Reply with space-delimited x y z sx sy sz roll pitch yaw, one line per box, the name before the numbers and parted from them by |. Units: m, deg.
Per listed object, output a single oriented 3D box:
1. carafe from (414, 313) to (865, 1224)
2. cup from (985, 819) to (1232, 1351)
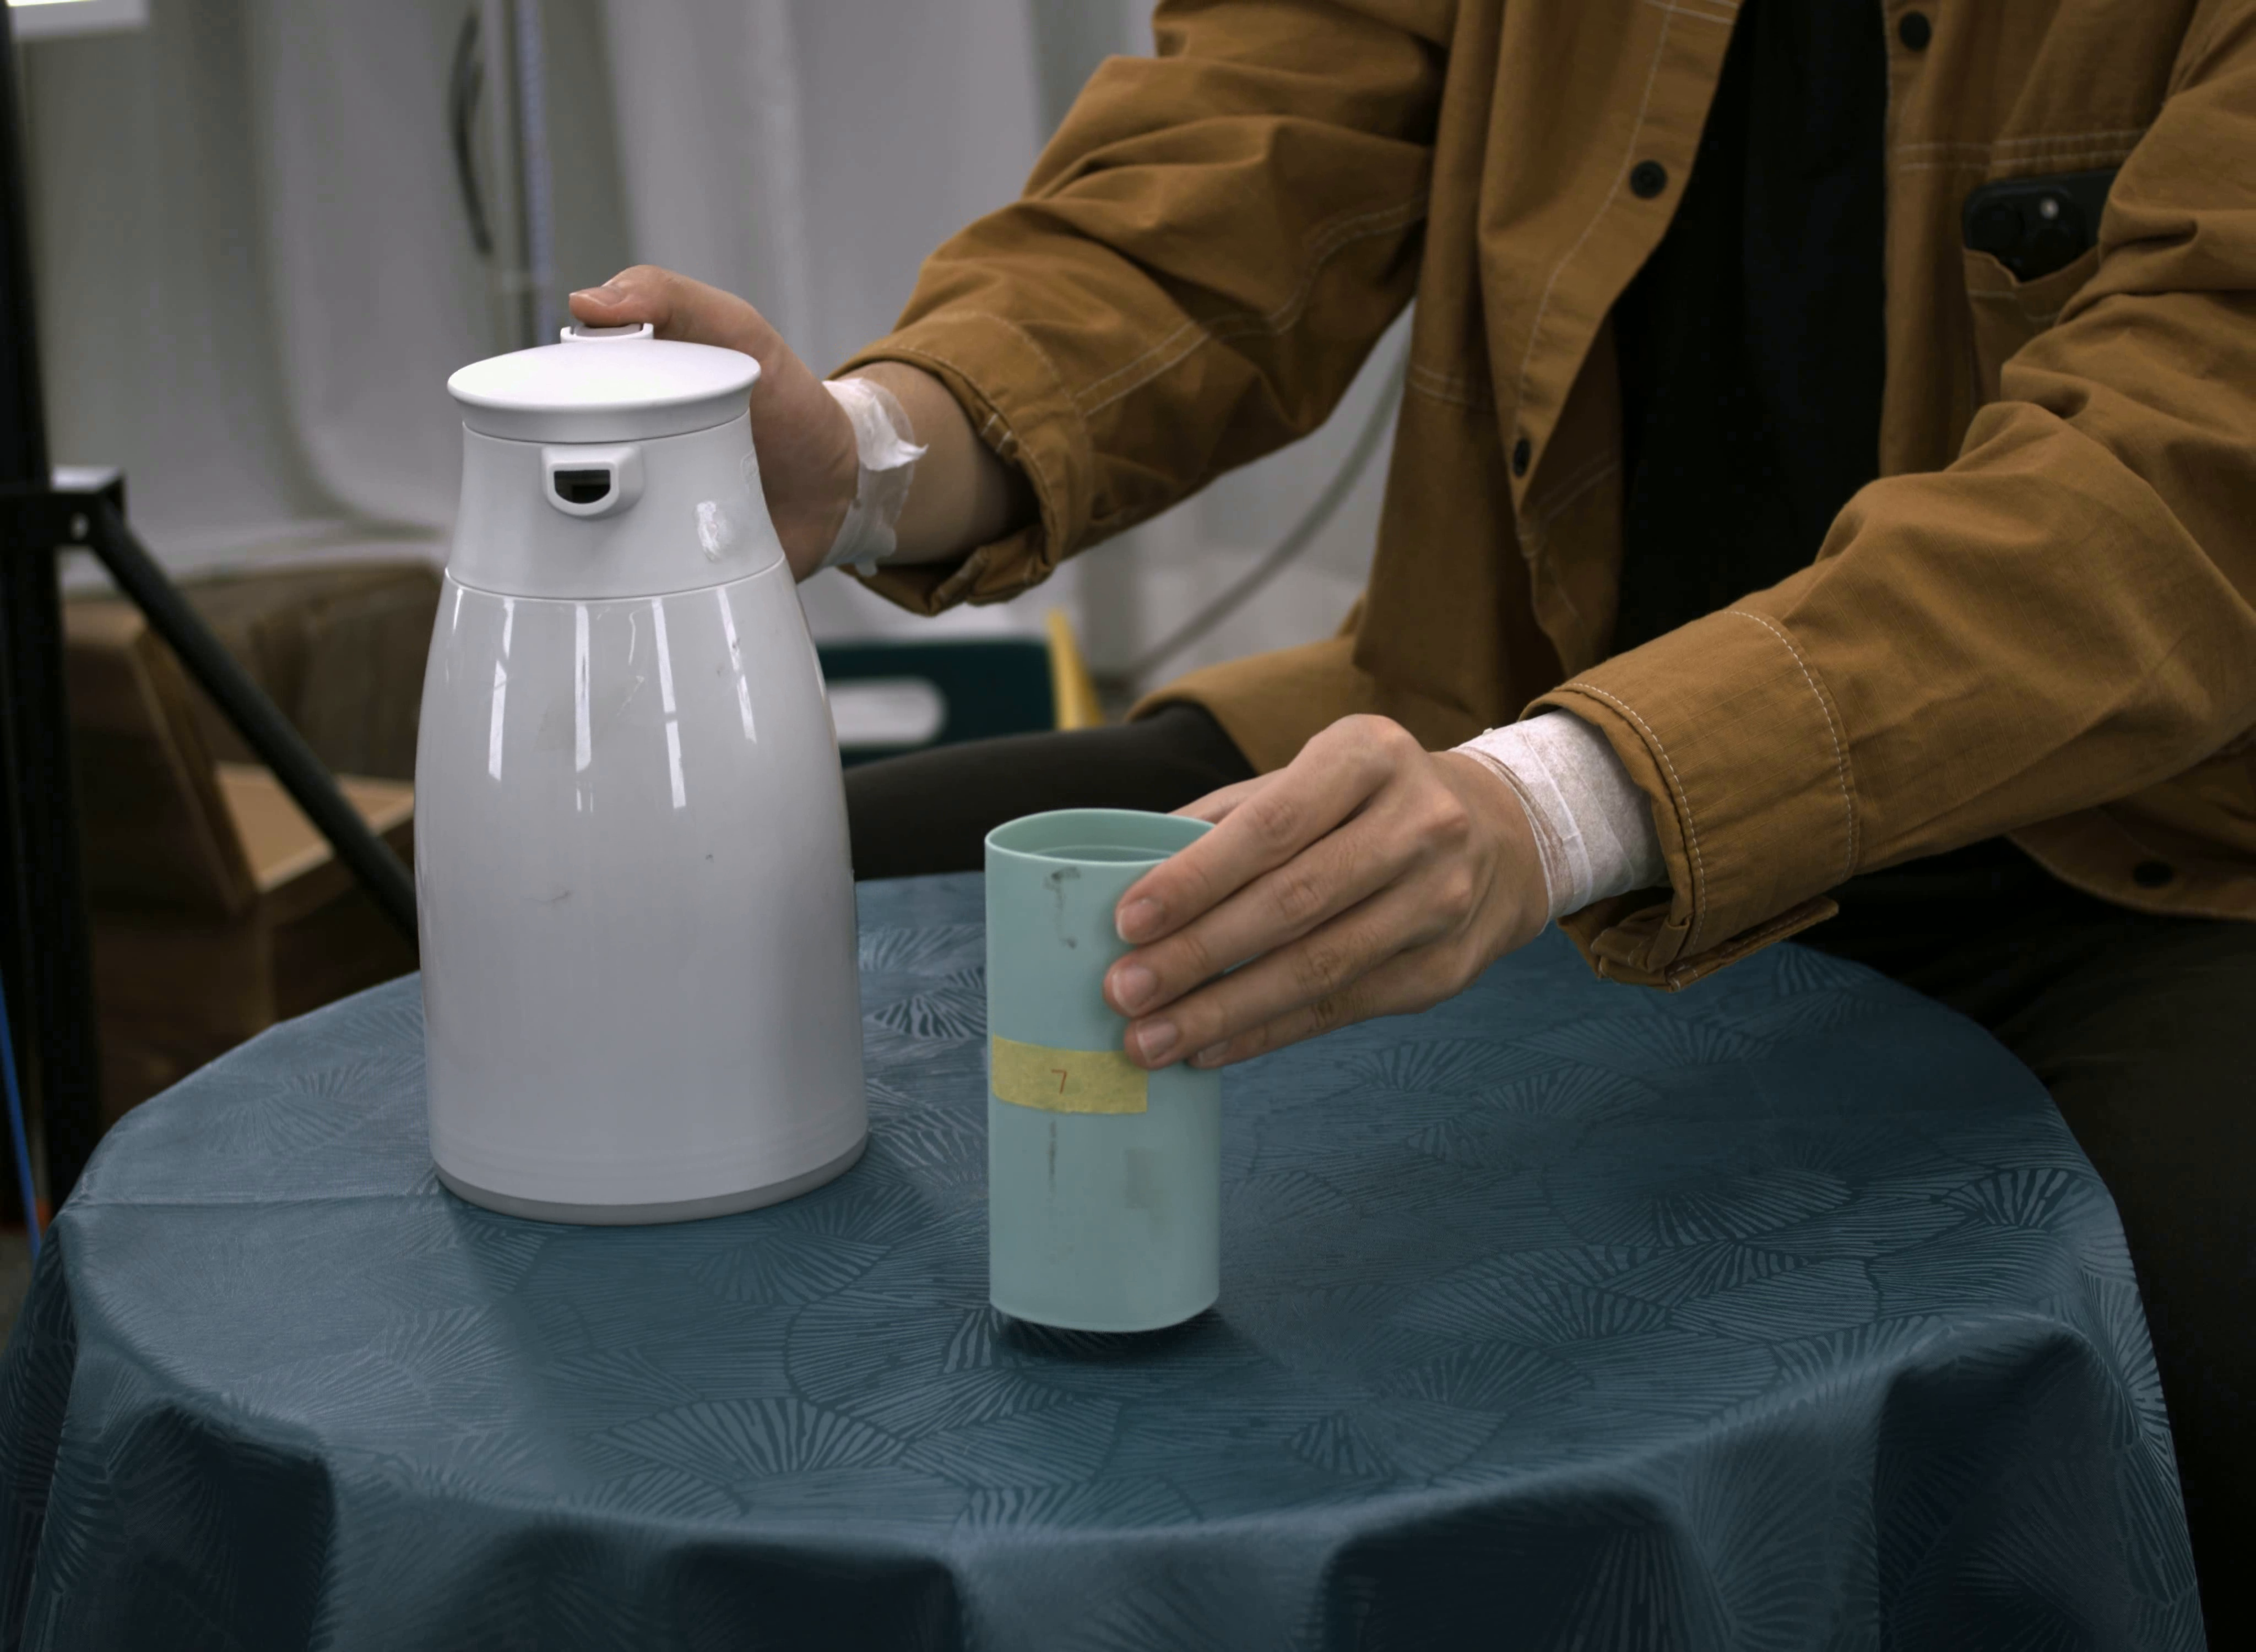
carafe | -0.149 -0.025 1.598 0.132 0.248 0.168 -2 14 2
cup | -0.005 0.069 1.437 0.066 0.132 0.067 0 12 -1
